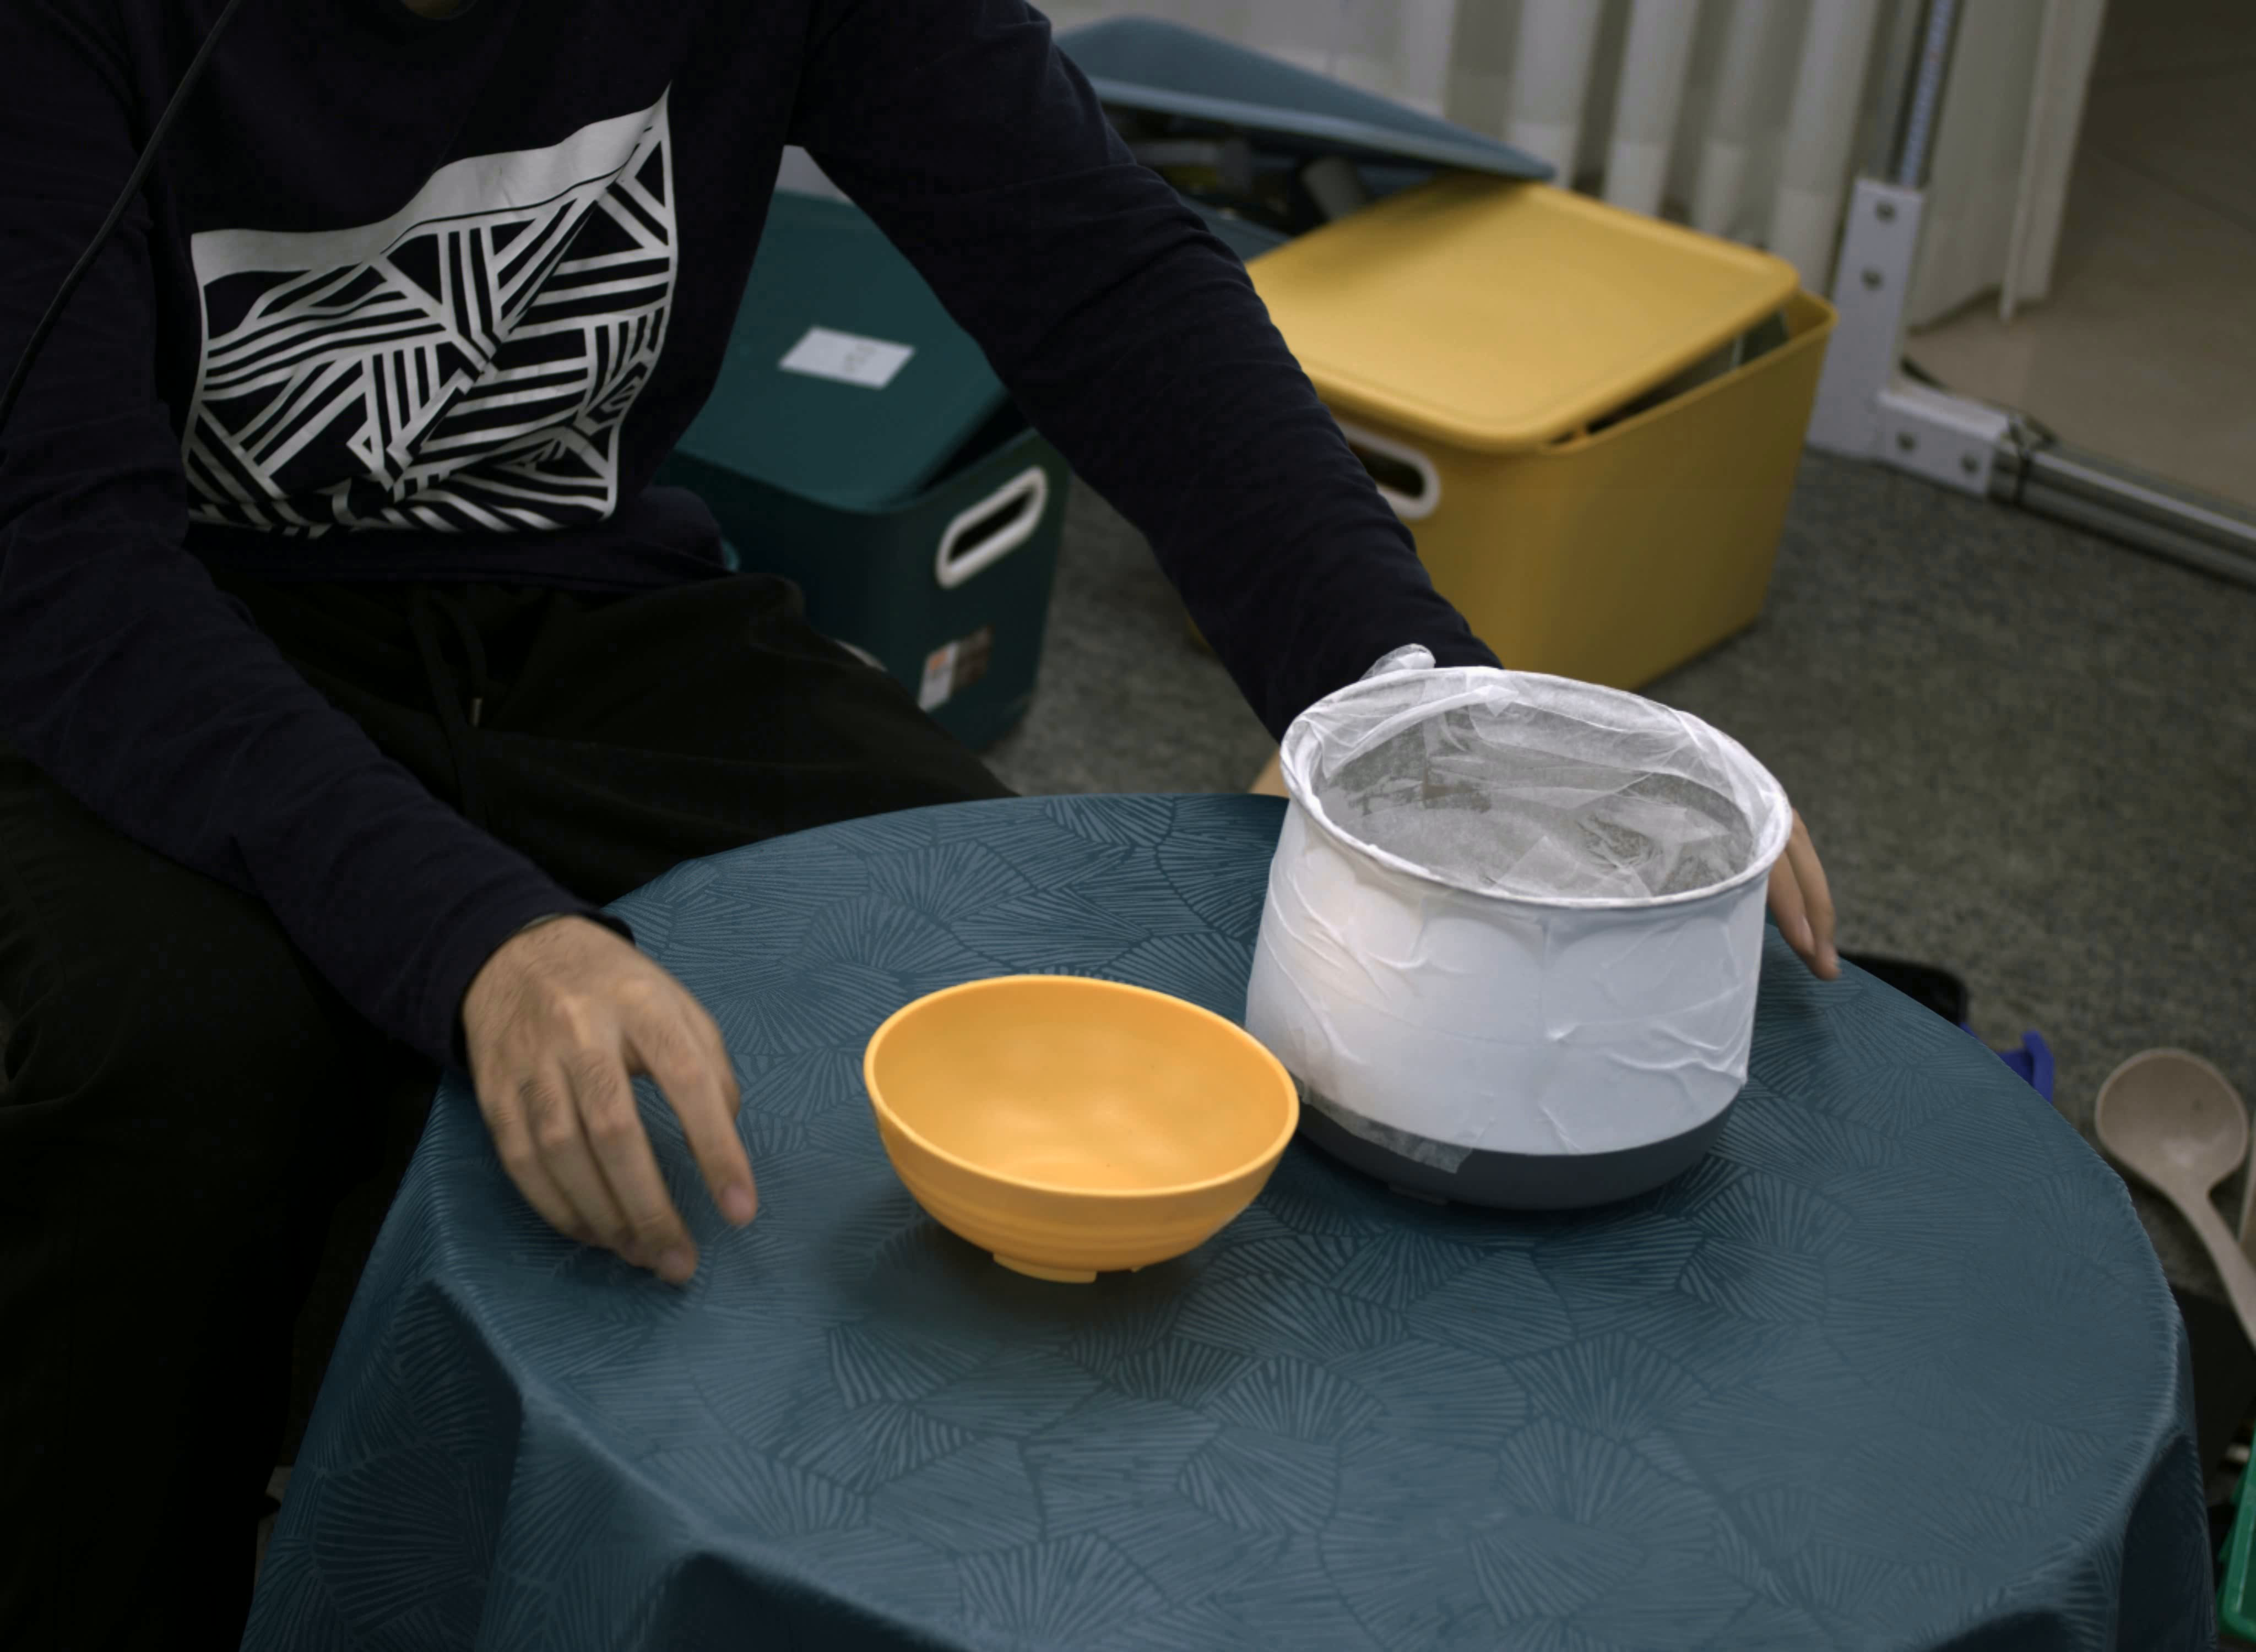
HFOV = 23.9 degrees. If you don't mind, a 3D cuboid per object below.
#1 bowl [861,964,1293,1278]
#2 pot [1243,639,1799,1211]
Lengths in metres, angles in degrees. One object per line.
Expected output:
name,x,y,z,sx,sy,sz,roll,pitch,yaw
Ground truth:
bowl,-0.021,0.107,1.764,0.145,0.060,0.146,7,27,-4
pot,0.122,0.028,1.870,0.177,0.136,0.236,-3,29,-25
